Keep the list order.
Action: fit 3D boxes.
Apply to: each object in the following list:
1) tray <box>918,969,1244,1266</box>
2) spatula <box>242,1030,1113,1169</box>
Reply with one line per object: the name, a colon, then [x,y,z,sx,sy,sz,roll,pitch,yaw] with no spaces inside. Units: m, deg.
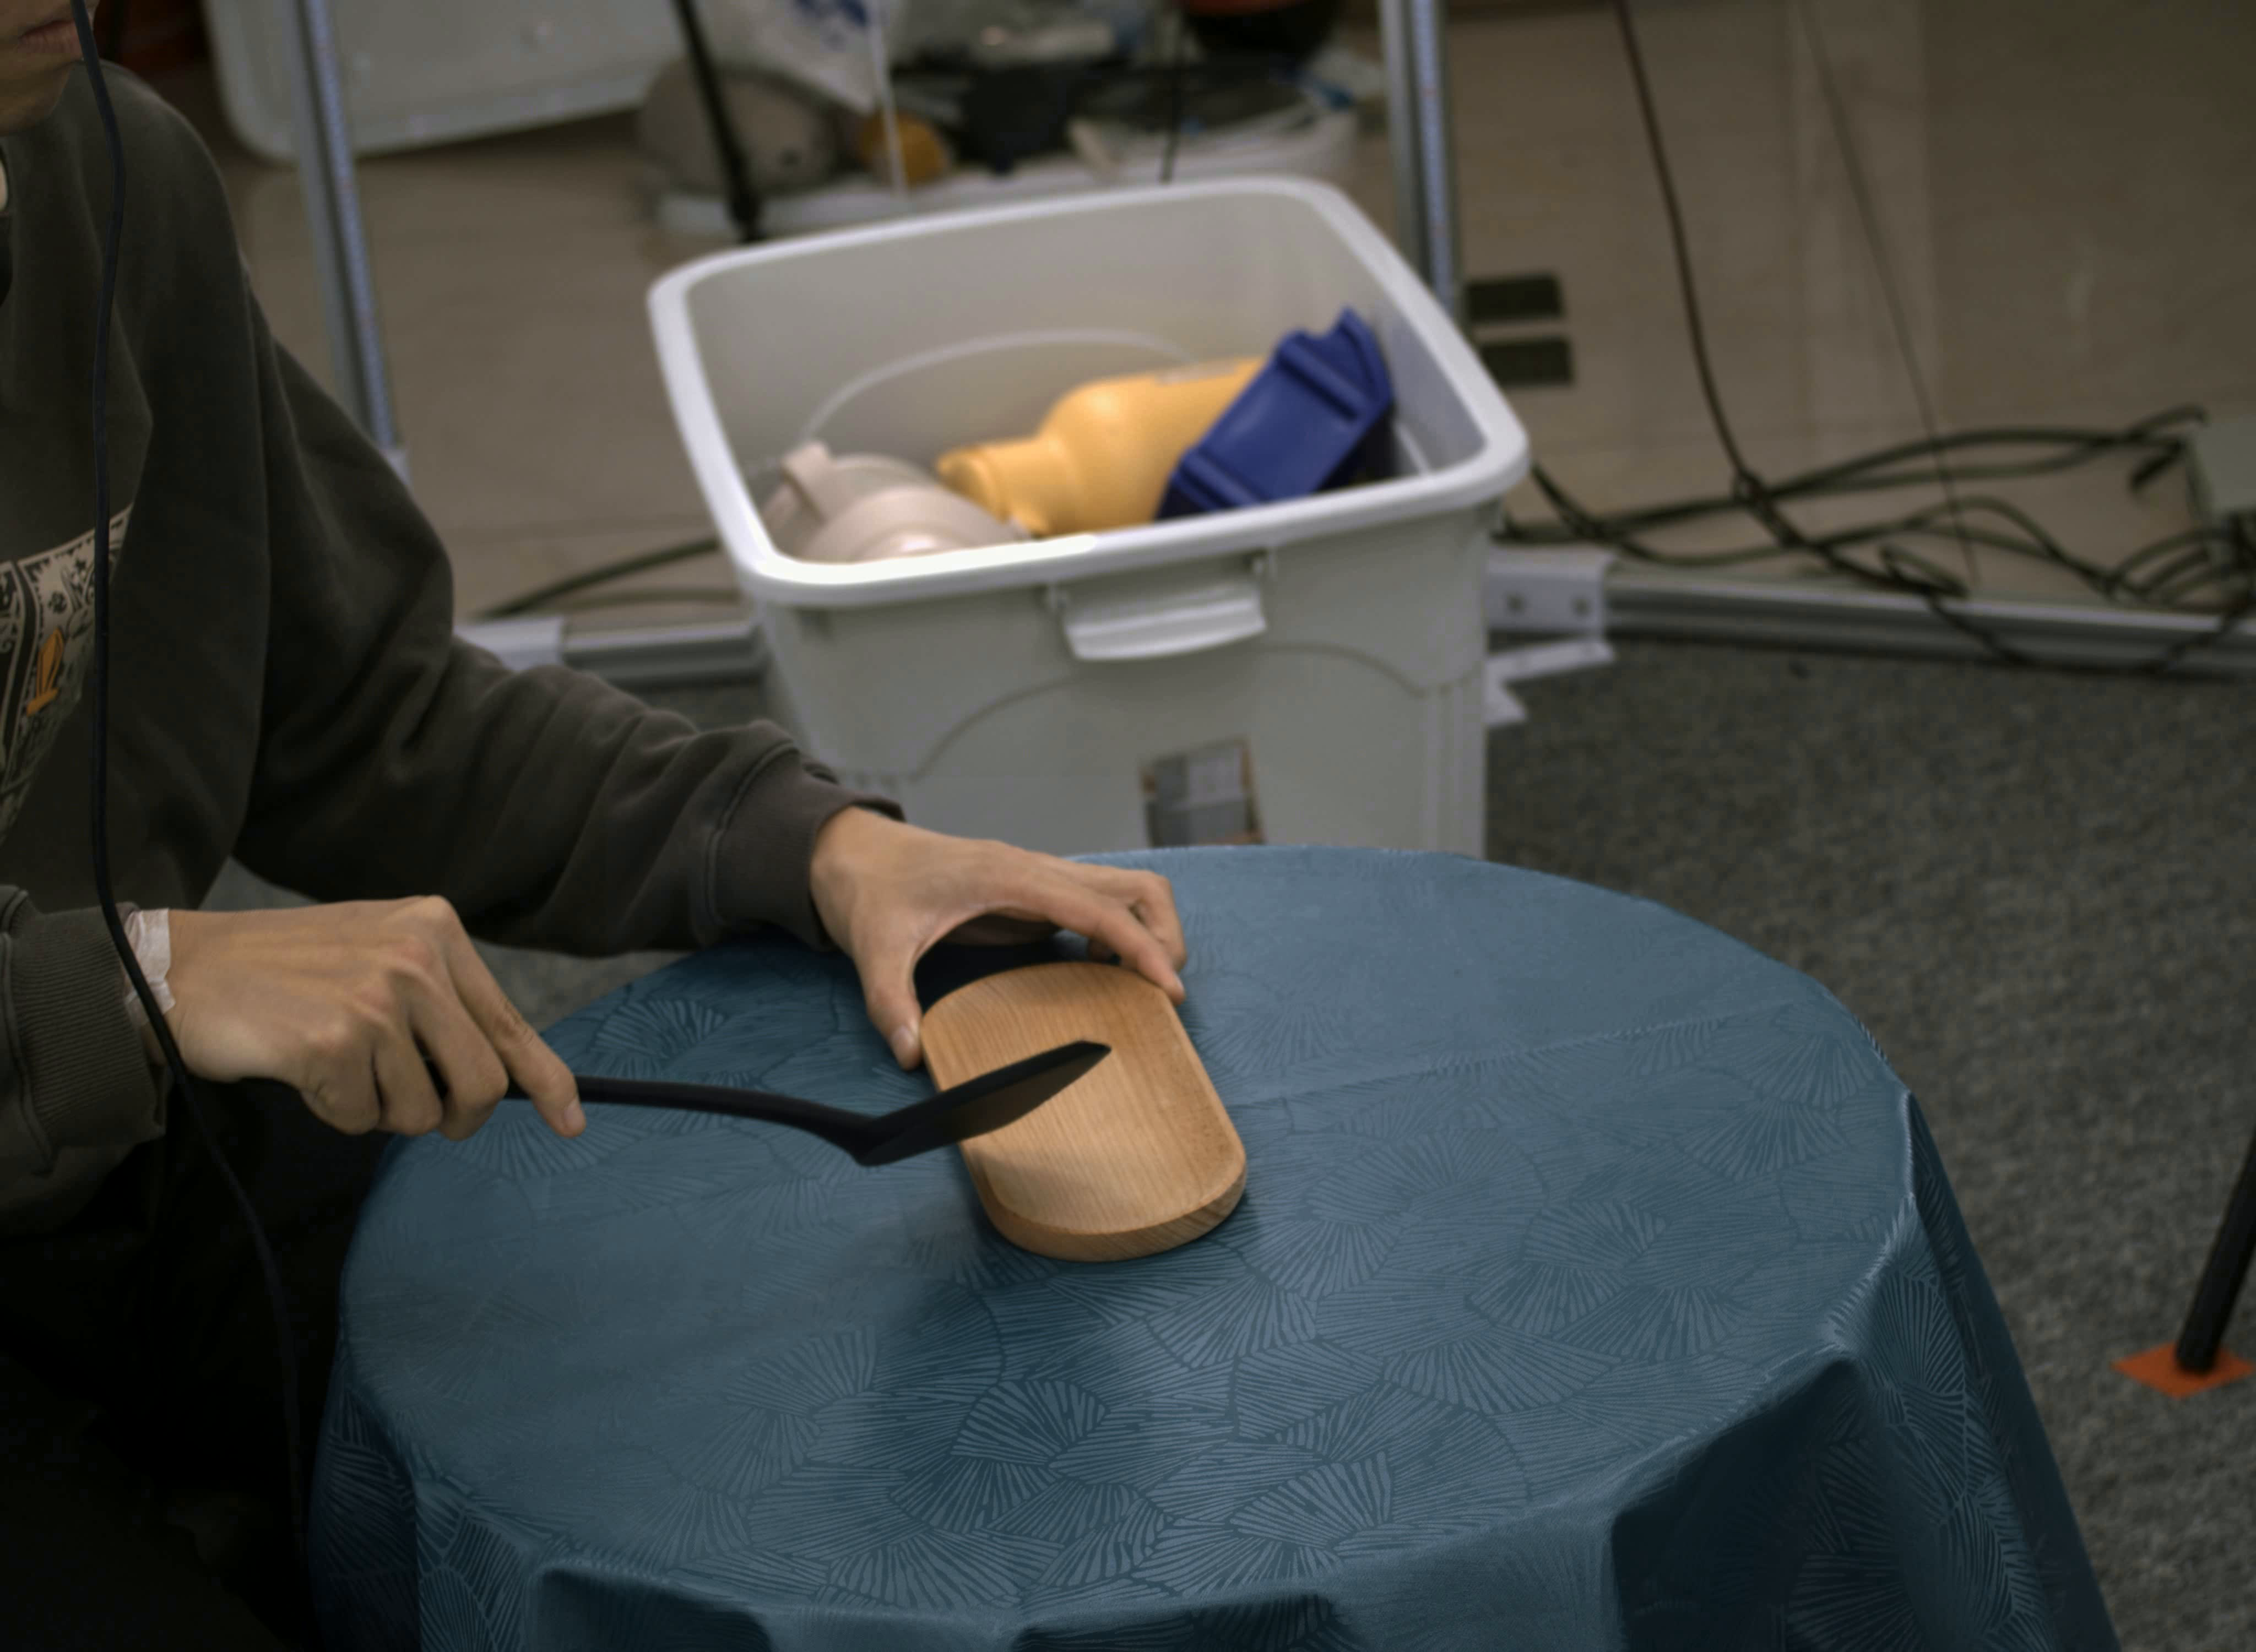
tray: [-0.020,0.111,2.193,0.101,0.020,0.228,-11,27,-8]
spatula: [-0.164,0.091,2.049,0.326,0.101,0.040,8,63,-26]
